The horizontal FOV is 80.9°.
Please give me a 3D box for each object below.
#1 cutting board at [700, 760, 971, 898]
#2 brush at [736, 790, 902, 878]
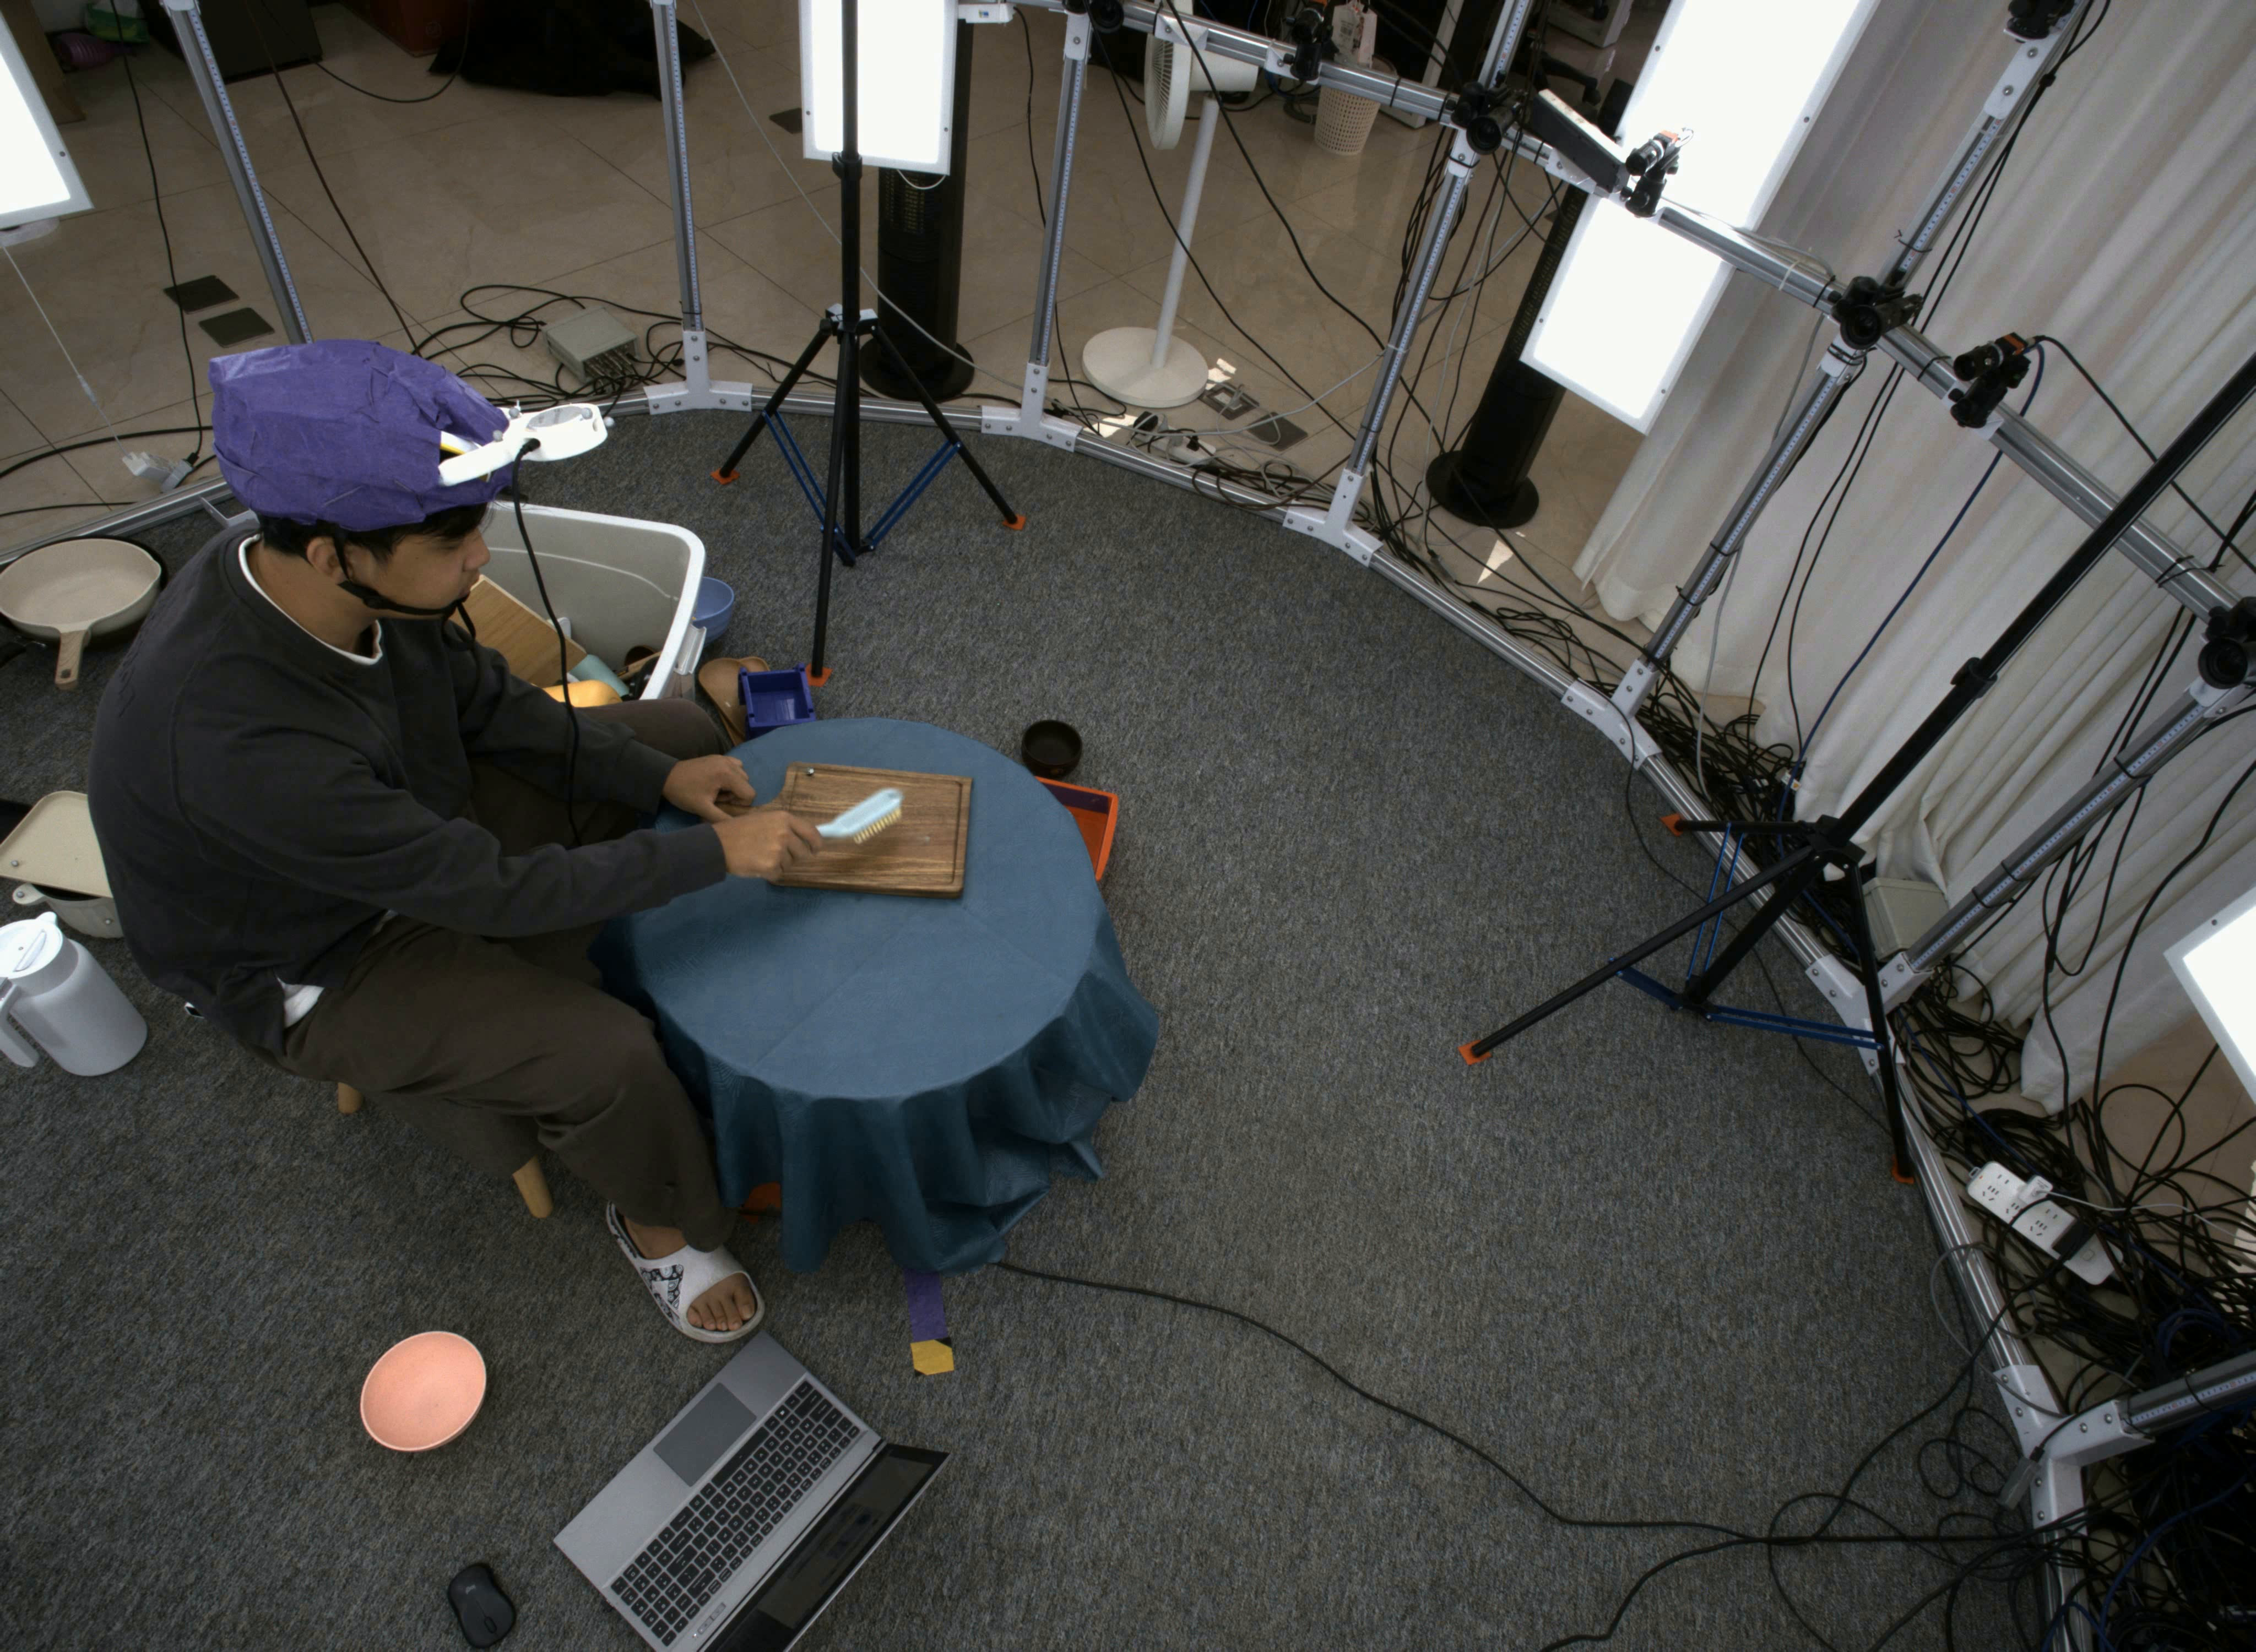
[{"bbox_3d":[-0.387,-0.003,1.719,0.351,0.023,0.197,5,53,-10],"label":"cutting board"},{"bbox_3d":[-0.383,0.016,1.624,0.230,0.051,0.036,-27,54,-33],"label":"brush"}]
